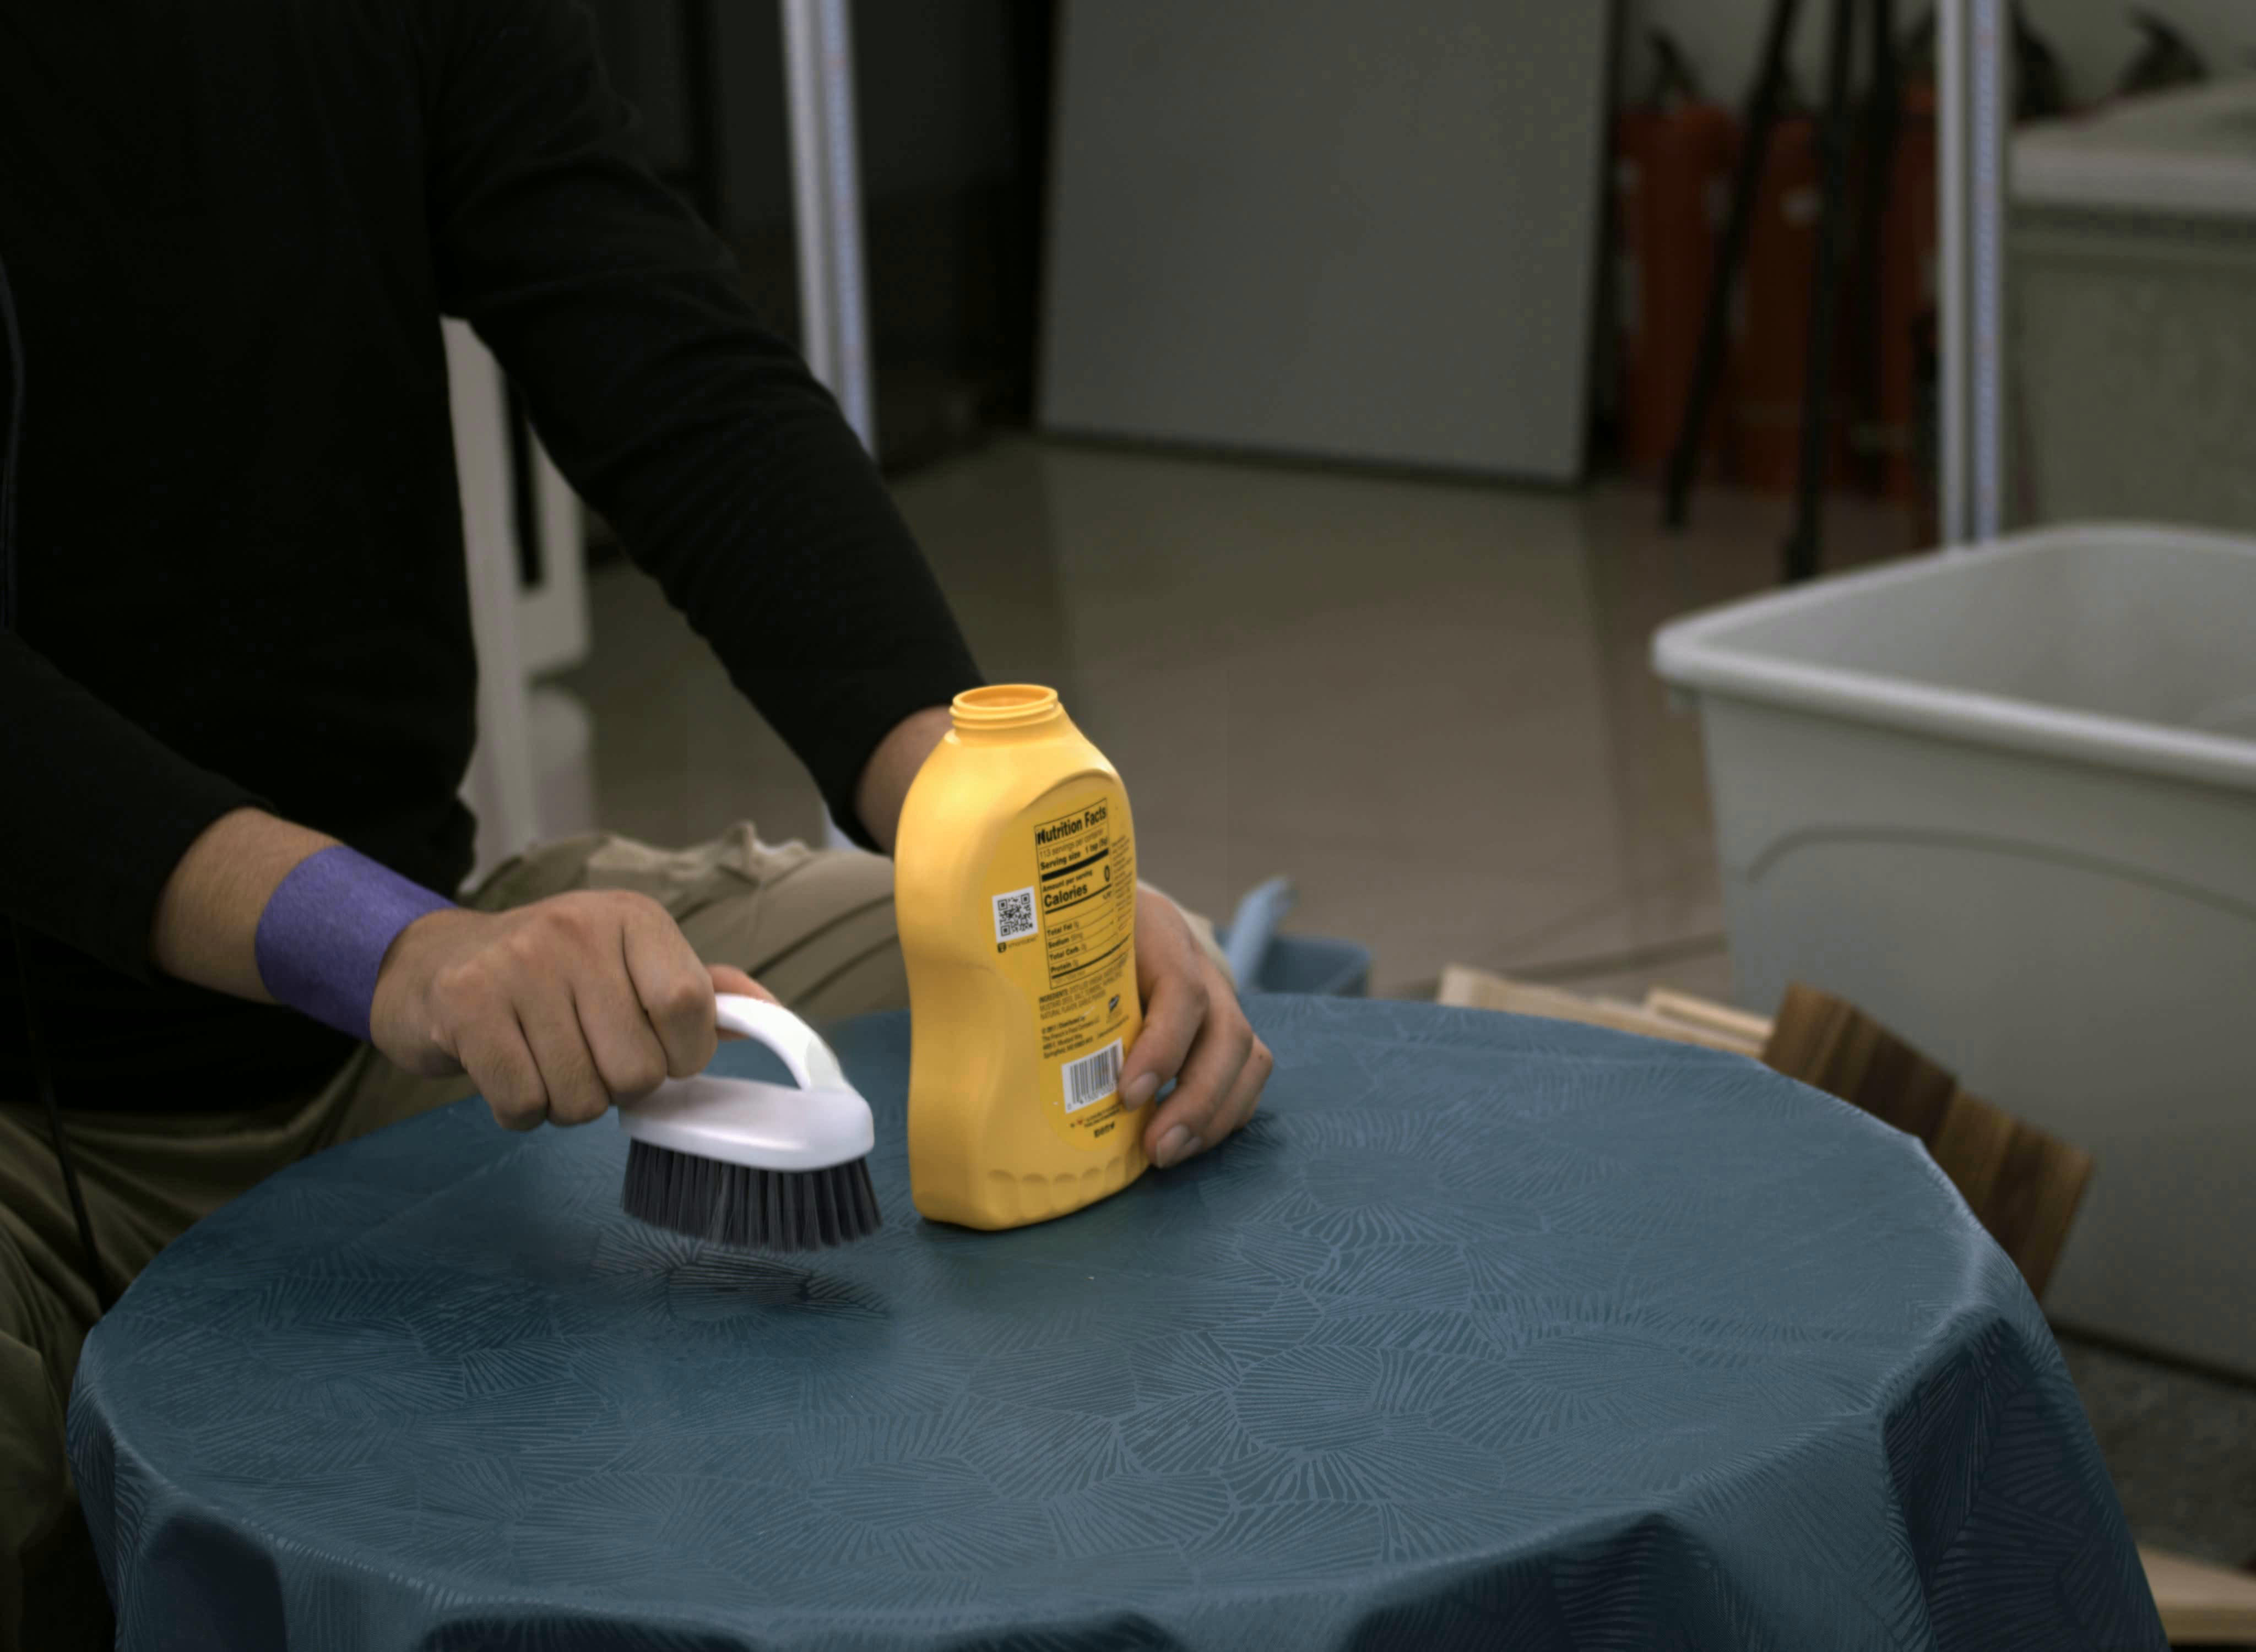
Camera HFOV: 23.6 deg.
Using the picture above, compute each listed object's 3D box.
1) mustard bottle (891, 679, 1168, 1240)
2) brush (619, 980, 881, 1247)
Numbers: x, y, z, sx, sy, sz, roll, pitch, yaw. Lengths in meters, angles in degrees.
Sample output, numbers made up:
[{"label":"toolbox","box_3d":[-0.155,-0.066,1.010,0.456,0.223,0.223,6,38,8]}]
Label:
[{"label":"mustard bottle","box_3d":[-0.034,0.041,1.751,0.060,0.174,0.096,3,15,38]},{"label":"brush","box_3d":[-0.121,0.085,1.689,0.049,0.073,0.100,-15,17,-40]}]
